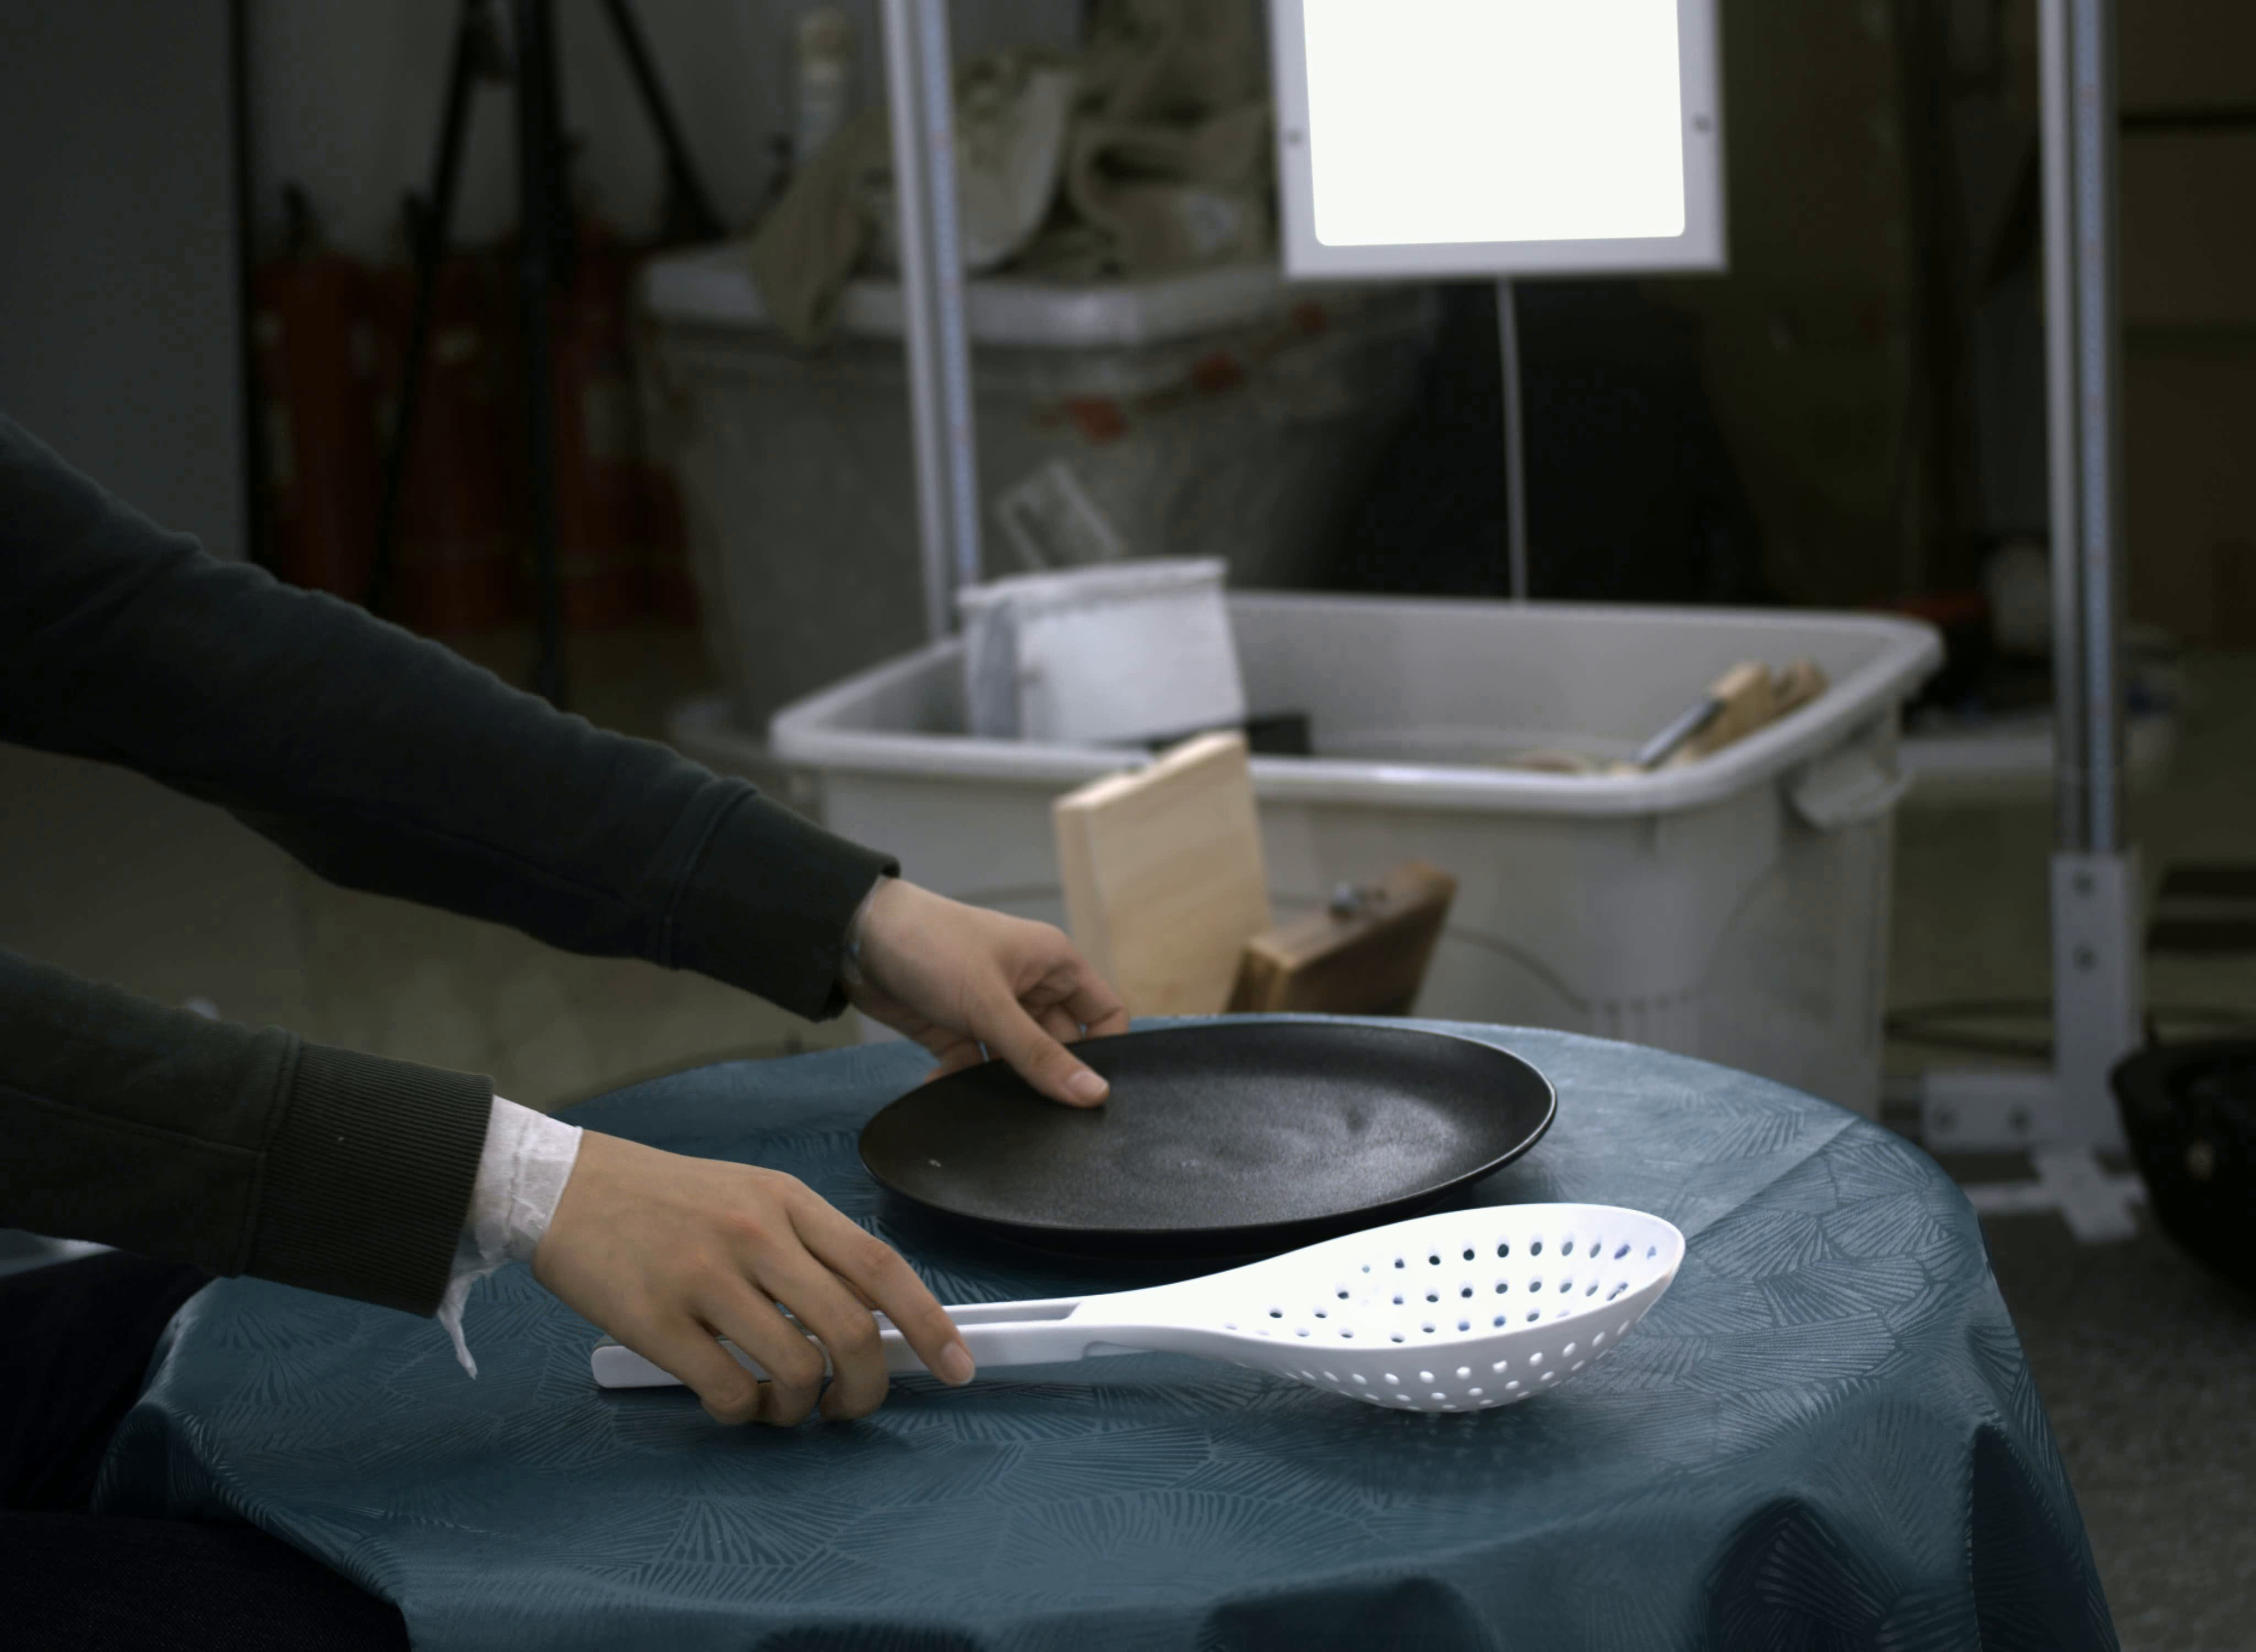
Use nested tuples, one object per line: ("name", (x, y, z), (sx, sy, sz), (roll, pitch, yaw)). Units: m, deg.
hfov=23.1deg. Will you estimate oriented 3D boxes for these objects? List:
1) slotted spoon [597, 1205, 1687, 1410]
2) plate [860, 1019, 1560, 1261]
("slotted spoon", (0.000, 0.152, 1.696), (0.354, 0.046, 0.134), (-1, 12, 18))
("plate", (0.029, 0.111, 1.902), (0.244, 0.023, 0.244), (-5, 14, 0))
